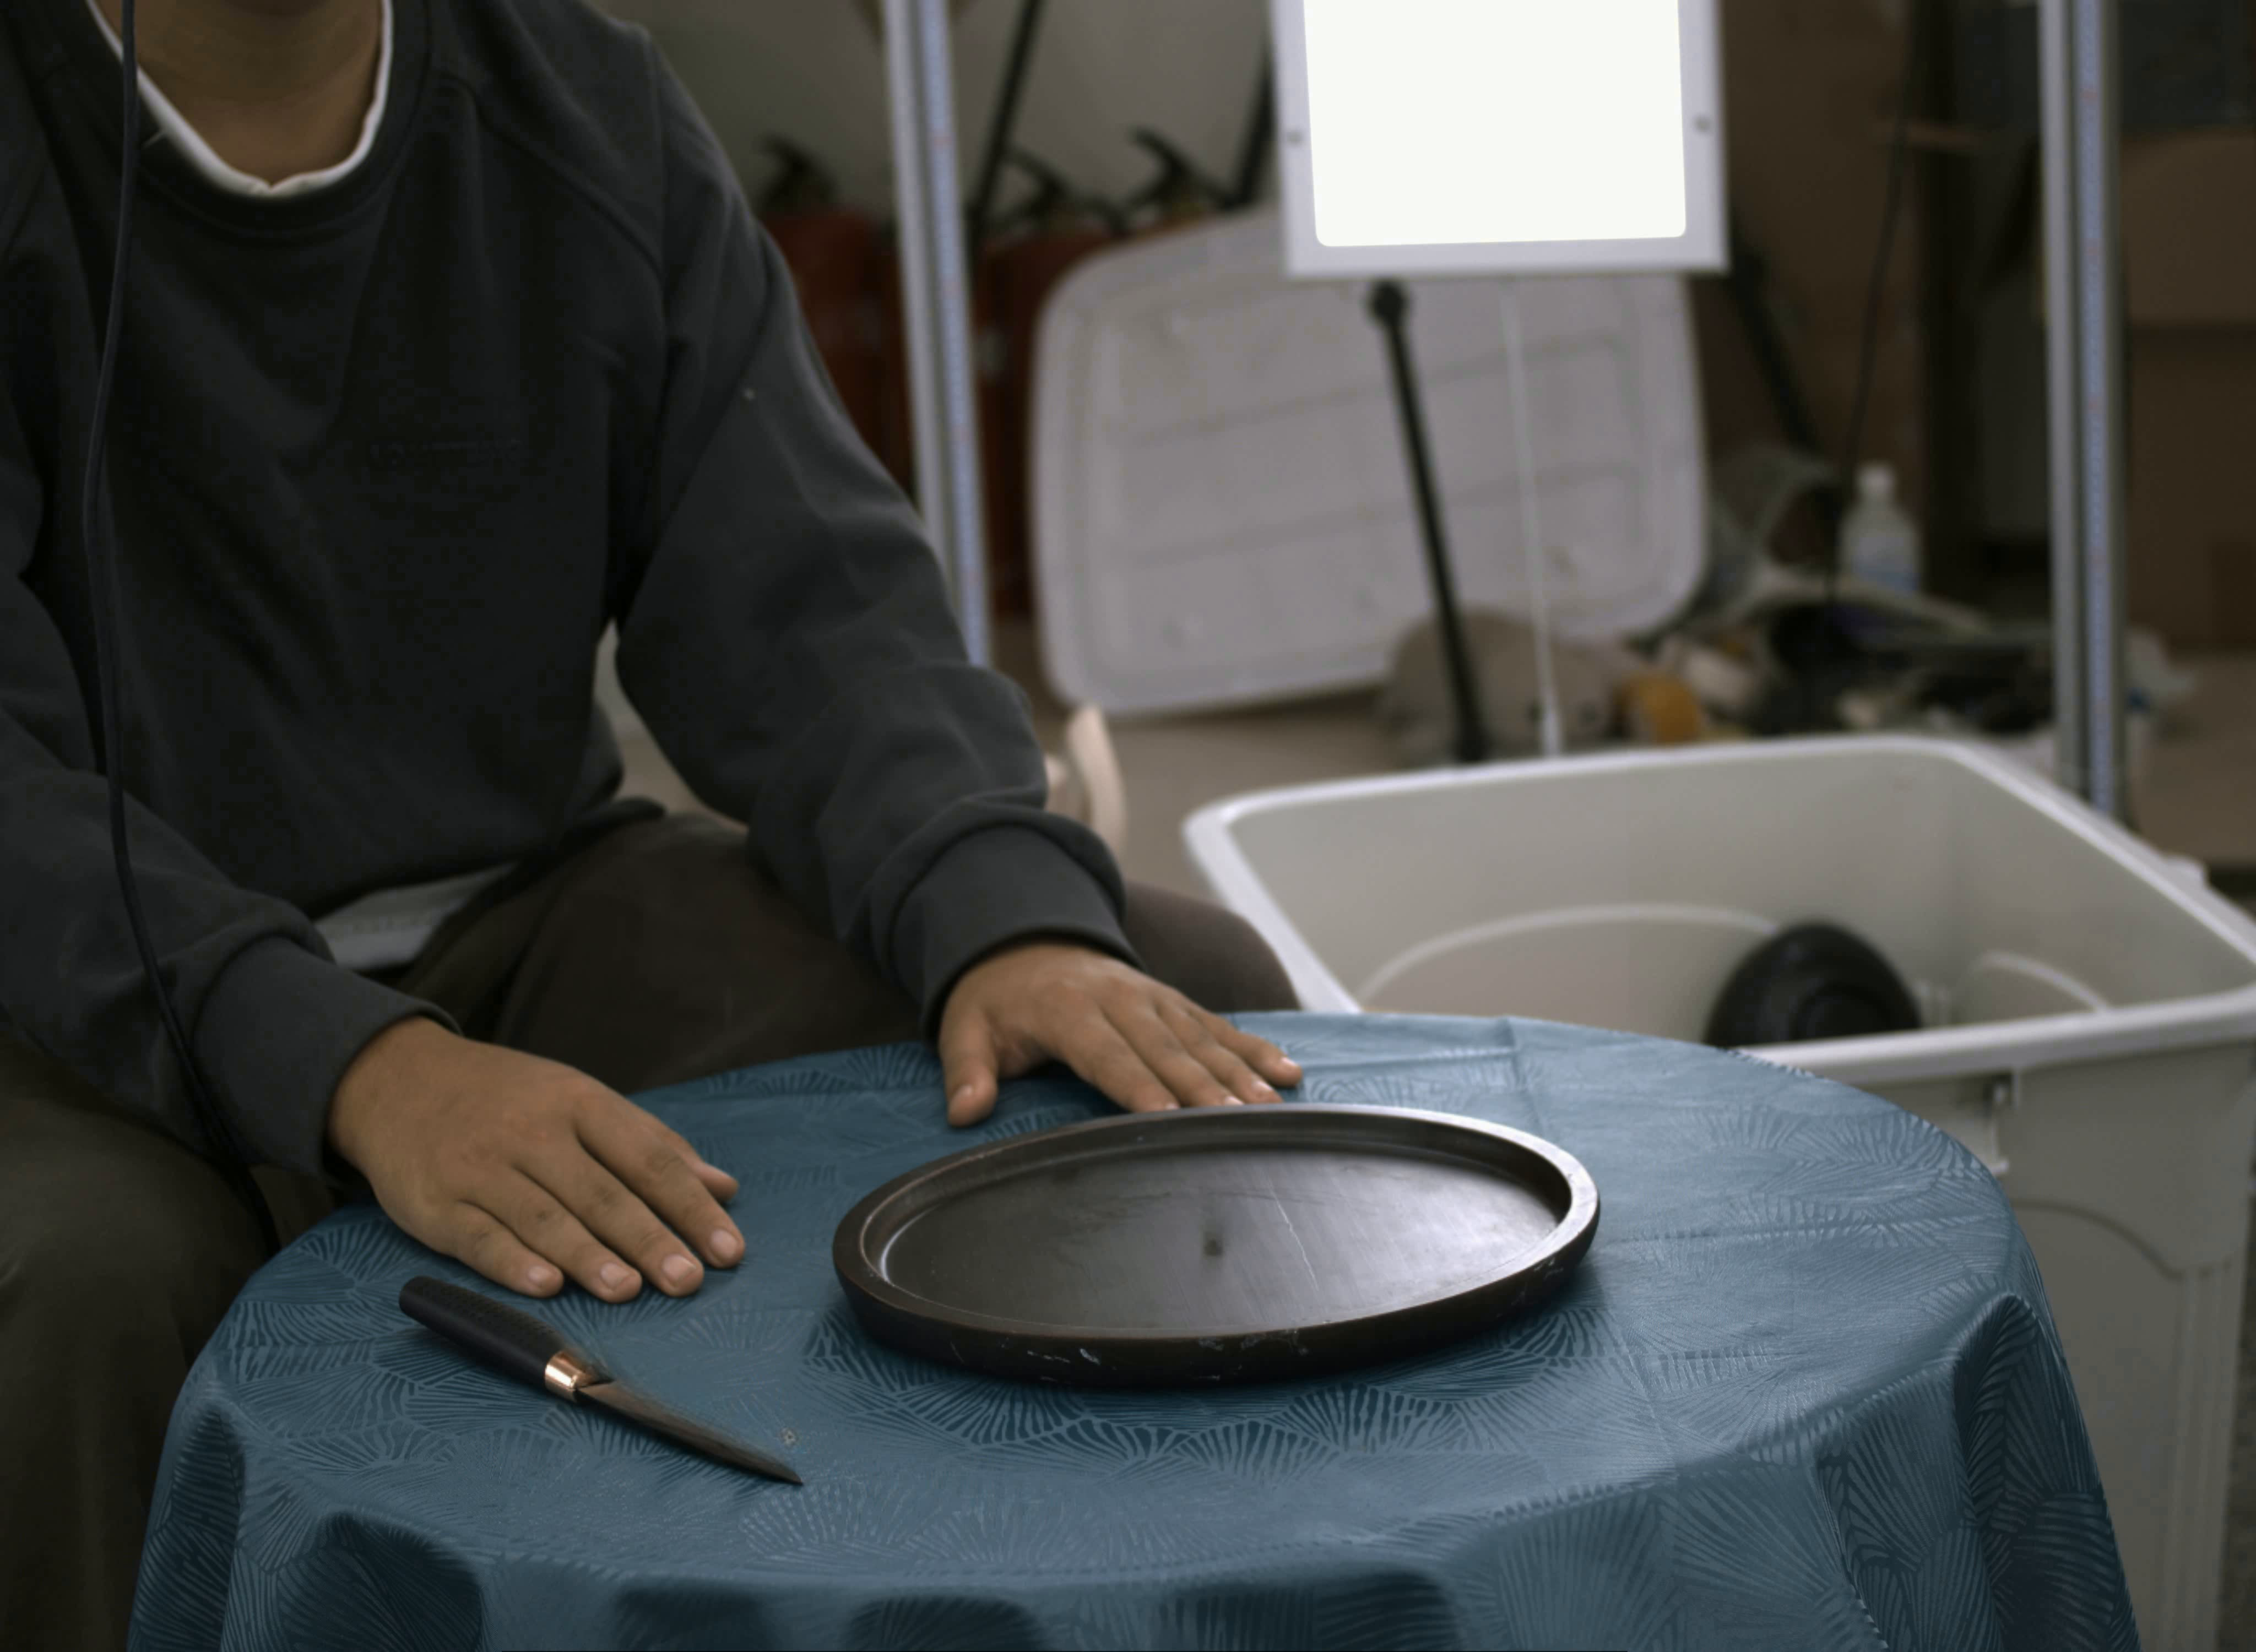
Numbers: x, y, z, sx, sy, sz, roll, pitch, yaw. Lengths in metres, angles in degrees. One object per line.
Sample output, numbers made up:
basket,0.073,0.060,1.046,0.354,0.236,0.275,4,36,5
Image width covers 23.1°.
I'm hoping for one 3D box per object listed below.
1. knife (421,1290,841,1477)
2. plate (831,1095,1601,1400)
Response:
knife,-0.159,0.176,1.730,0.025,0.017,0.230,-9,14,-35
plate,0.029,0.136,1.802,0.254,0.029,0.254,-7,13,0
